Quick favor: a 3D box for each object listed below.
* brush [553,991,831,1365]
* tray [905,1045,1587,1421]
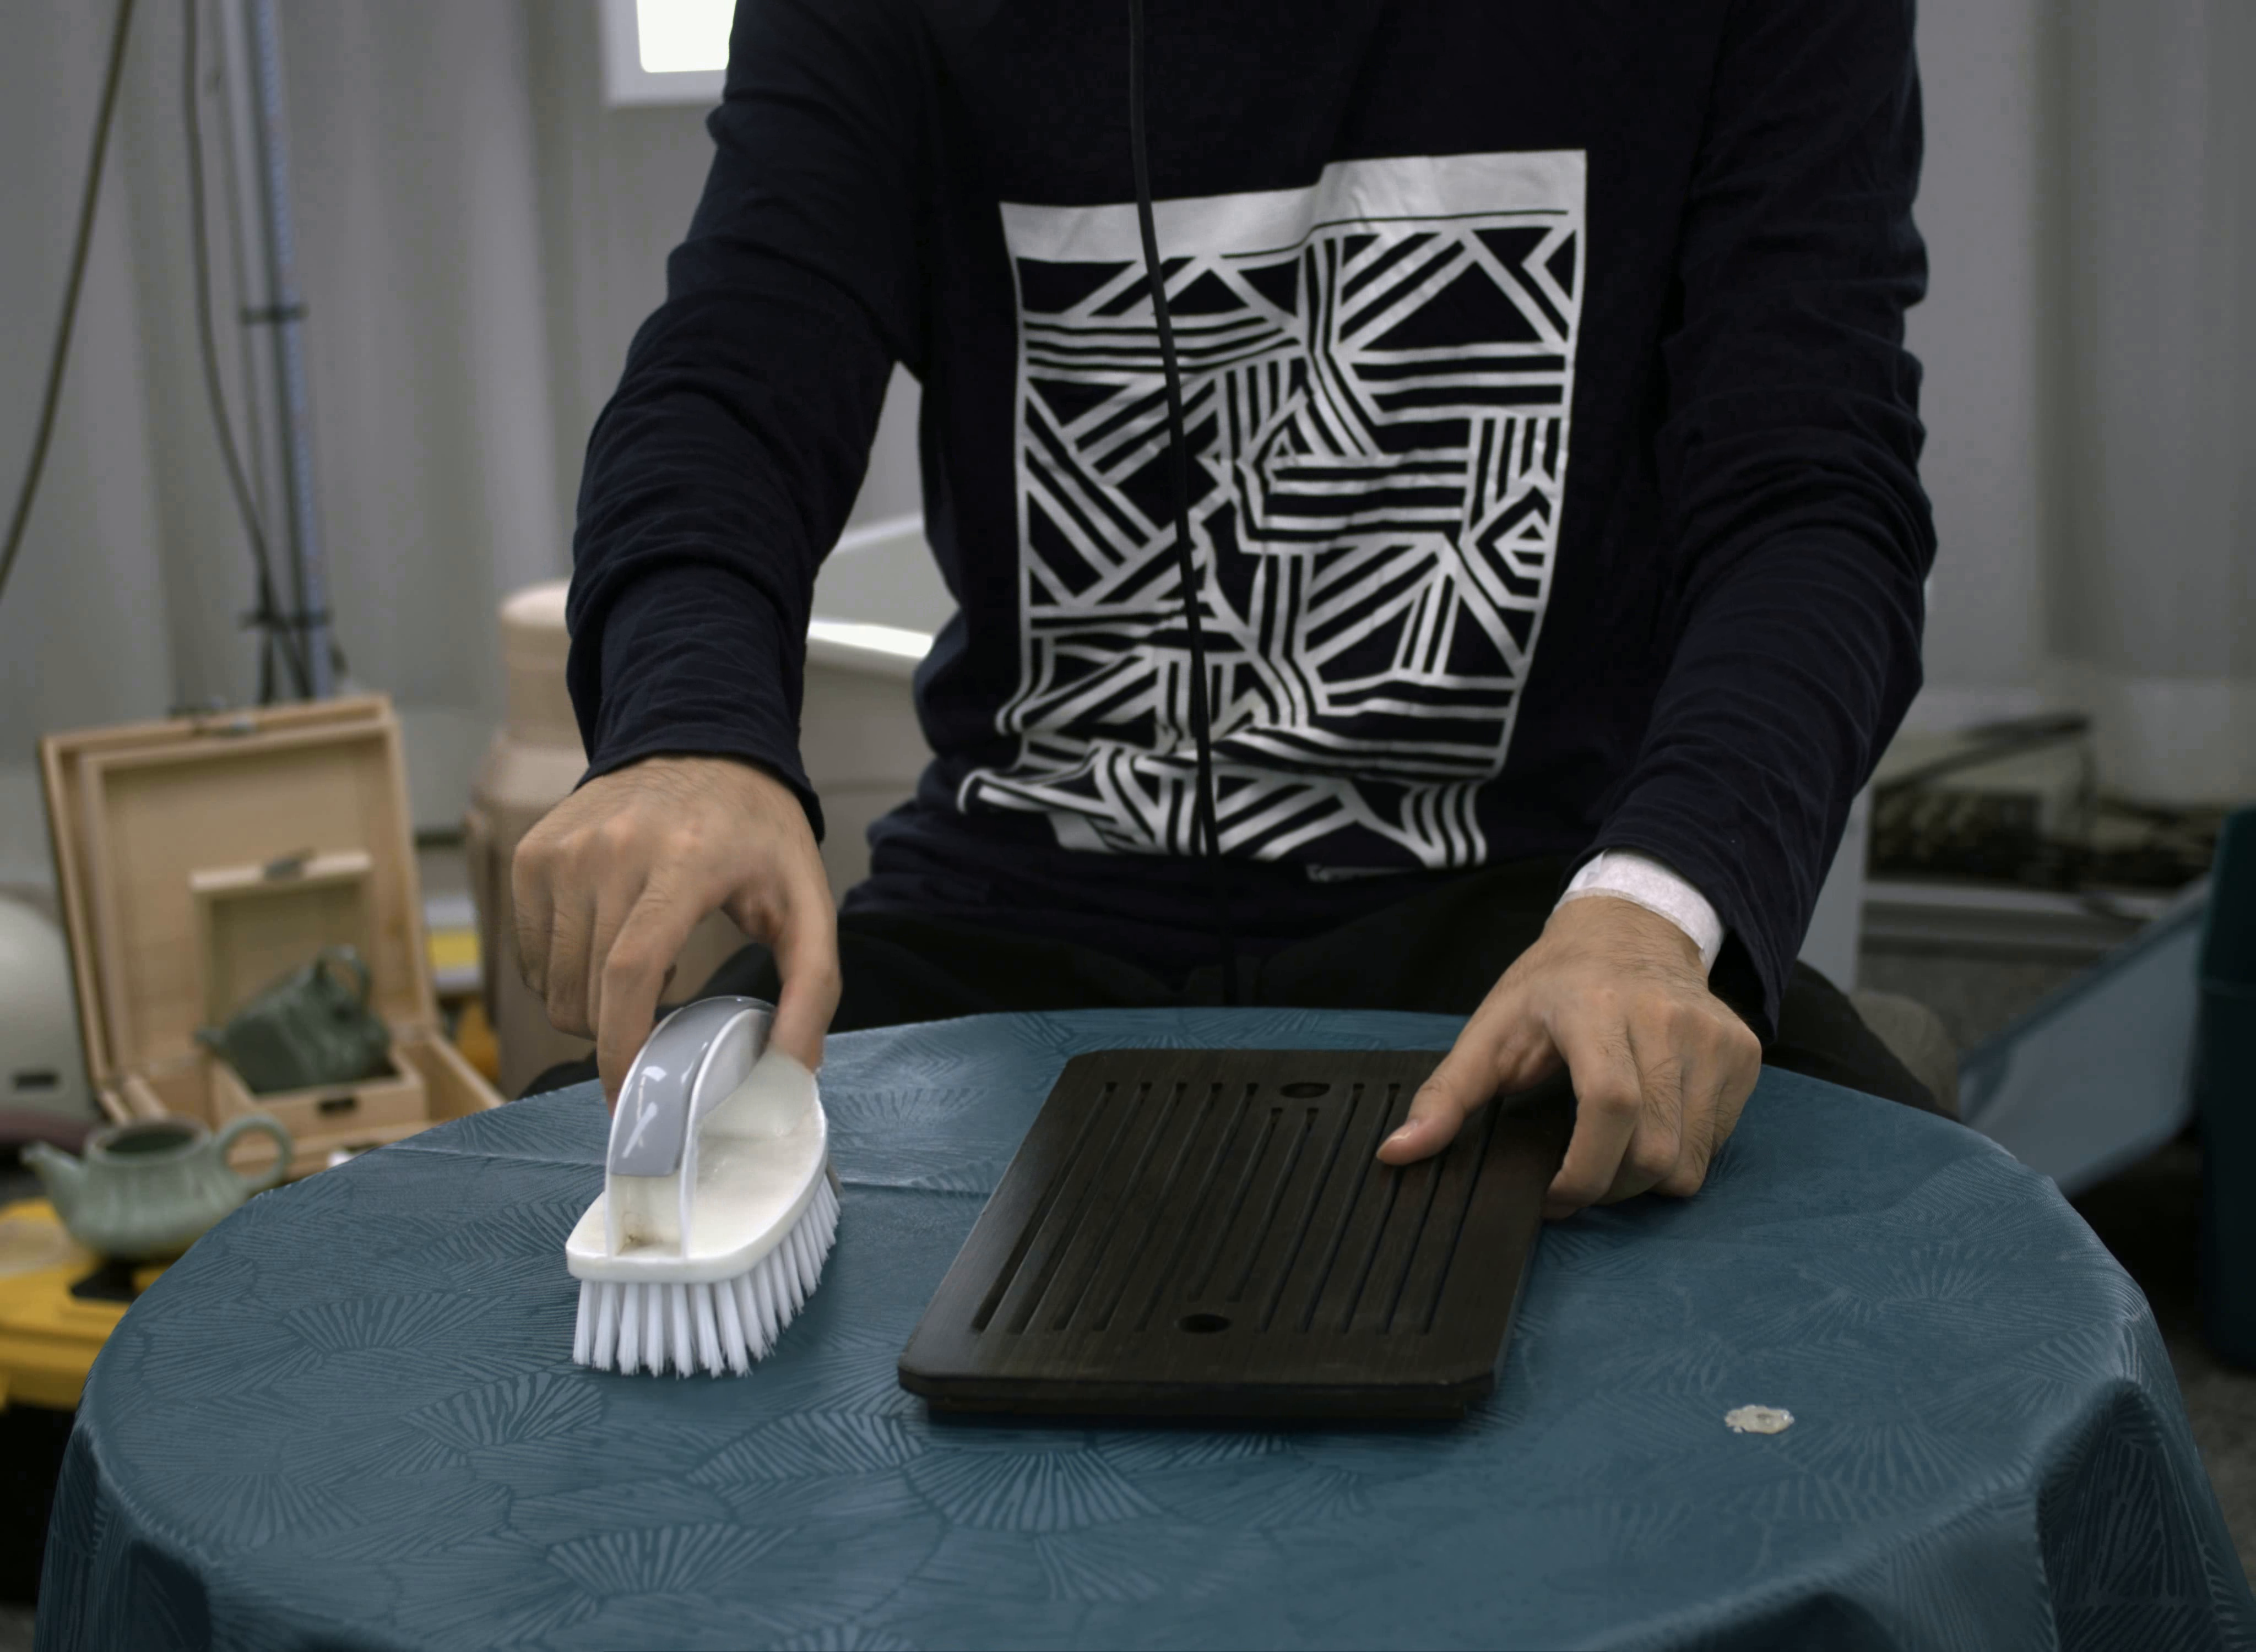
[{"bbox_3d":[-0.124,0.095,1.644,0.061,0.094,0.176,-3,13,14],"label":"brush"},{"bbox_3d":[0.044,0.120,1.651,0.170,0.018,0.307,0,15,10],"label":"tray"}]
